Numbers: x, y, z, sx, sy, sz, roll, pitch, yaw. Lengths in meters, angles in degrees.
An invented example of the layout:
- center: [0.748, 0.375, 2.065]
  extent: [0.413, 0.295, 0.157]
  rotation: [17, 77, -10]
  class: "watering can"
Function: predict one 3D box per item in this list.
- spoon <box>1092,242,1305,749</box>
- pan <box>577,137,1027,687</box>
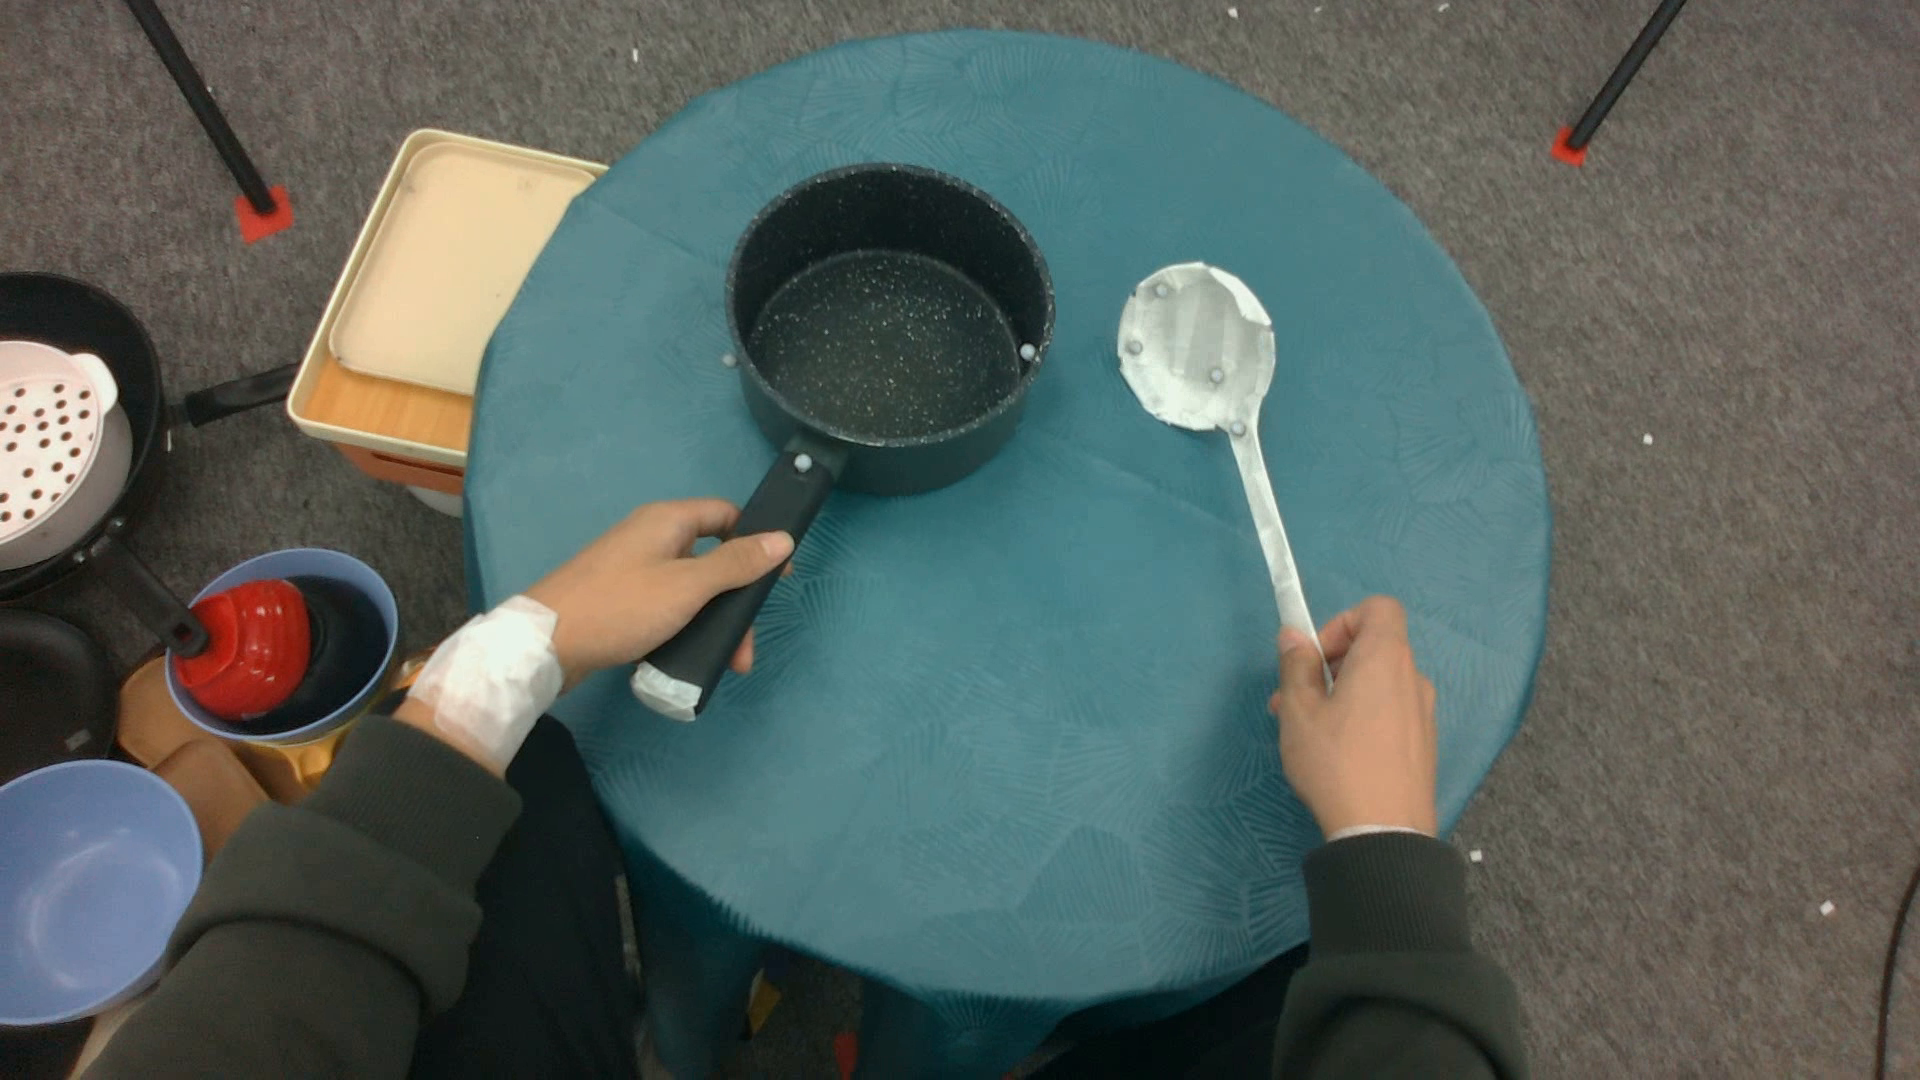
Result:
- center: [0.125, -0.026, 0.721]
  extent: [0.059, 0.100, 0.278]
  rotation: [15, 58, -40]
  class: "spoon"
- center: [-0.088, -0.060, 0.706]
  extent: [0.172, 0.086, 0.330]
  rotation: [26, 66, 5]
  class: "pan"
